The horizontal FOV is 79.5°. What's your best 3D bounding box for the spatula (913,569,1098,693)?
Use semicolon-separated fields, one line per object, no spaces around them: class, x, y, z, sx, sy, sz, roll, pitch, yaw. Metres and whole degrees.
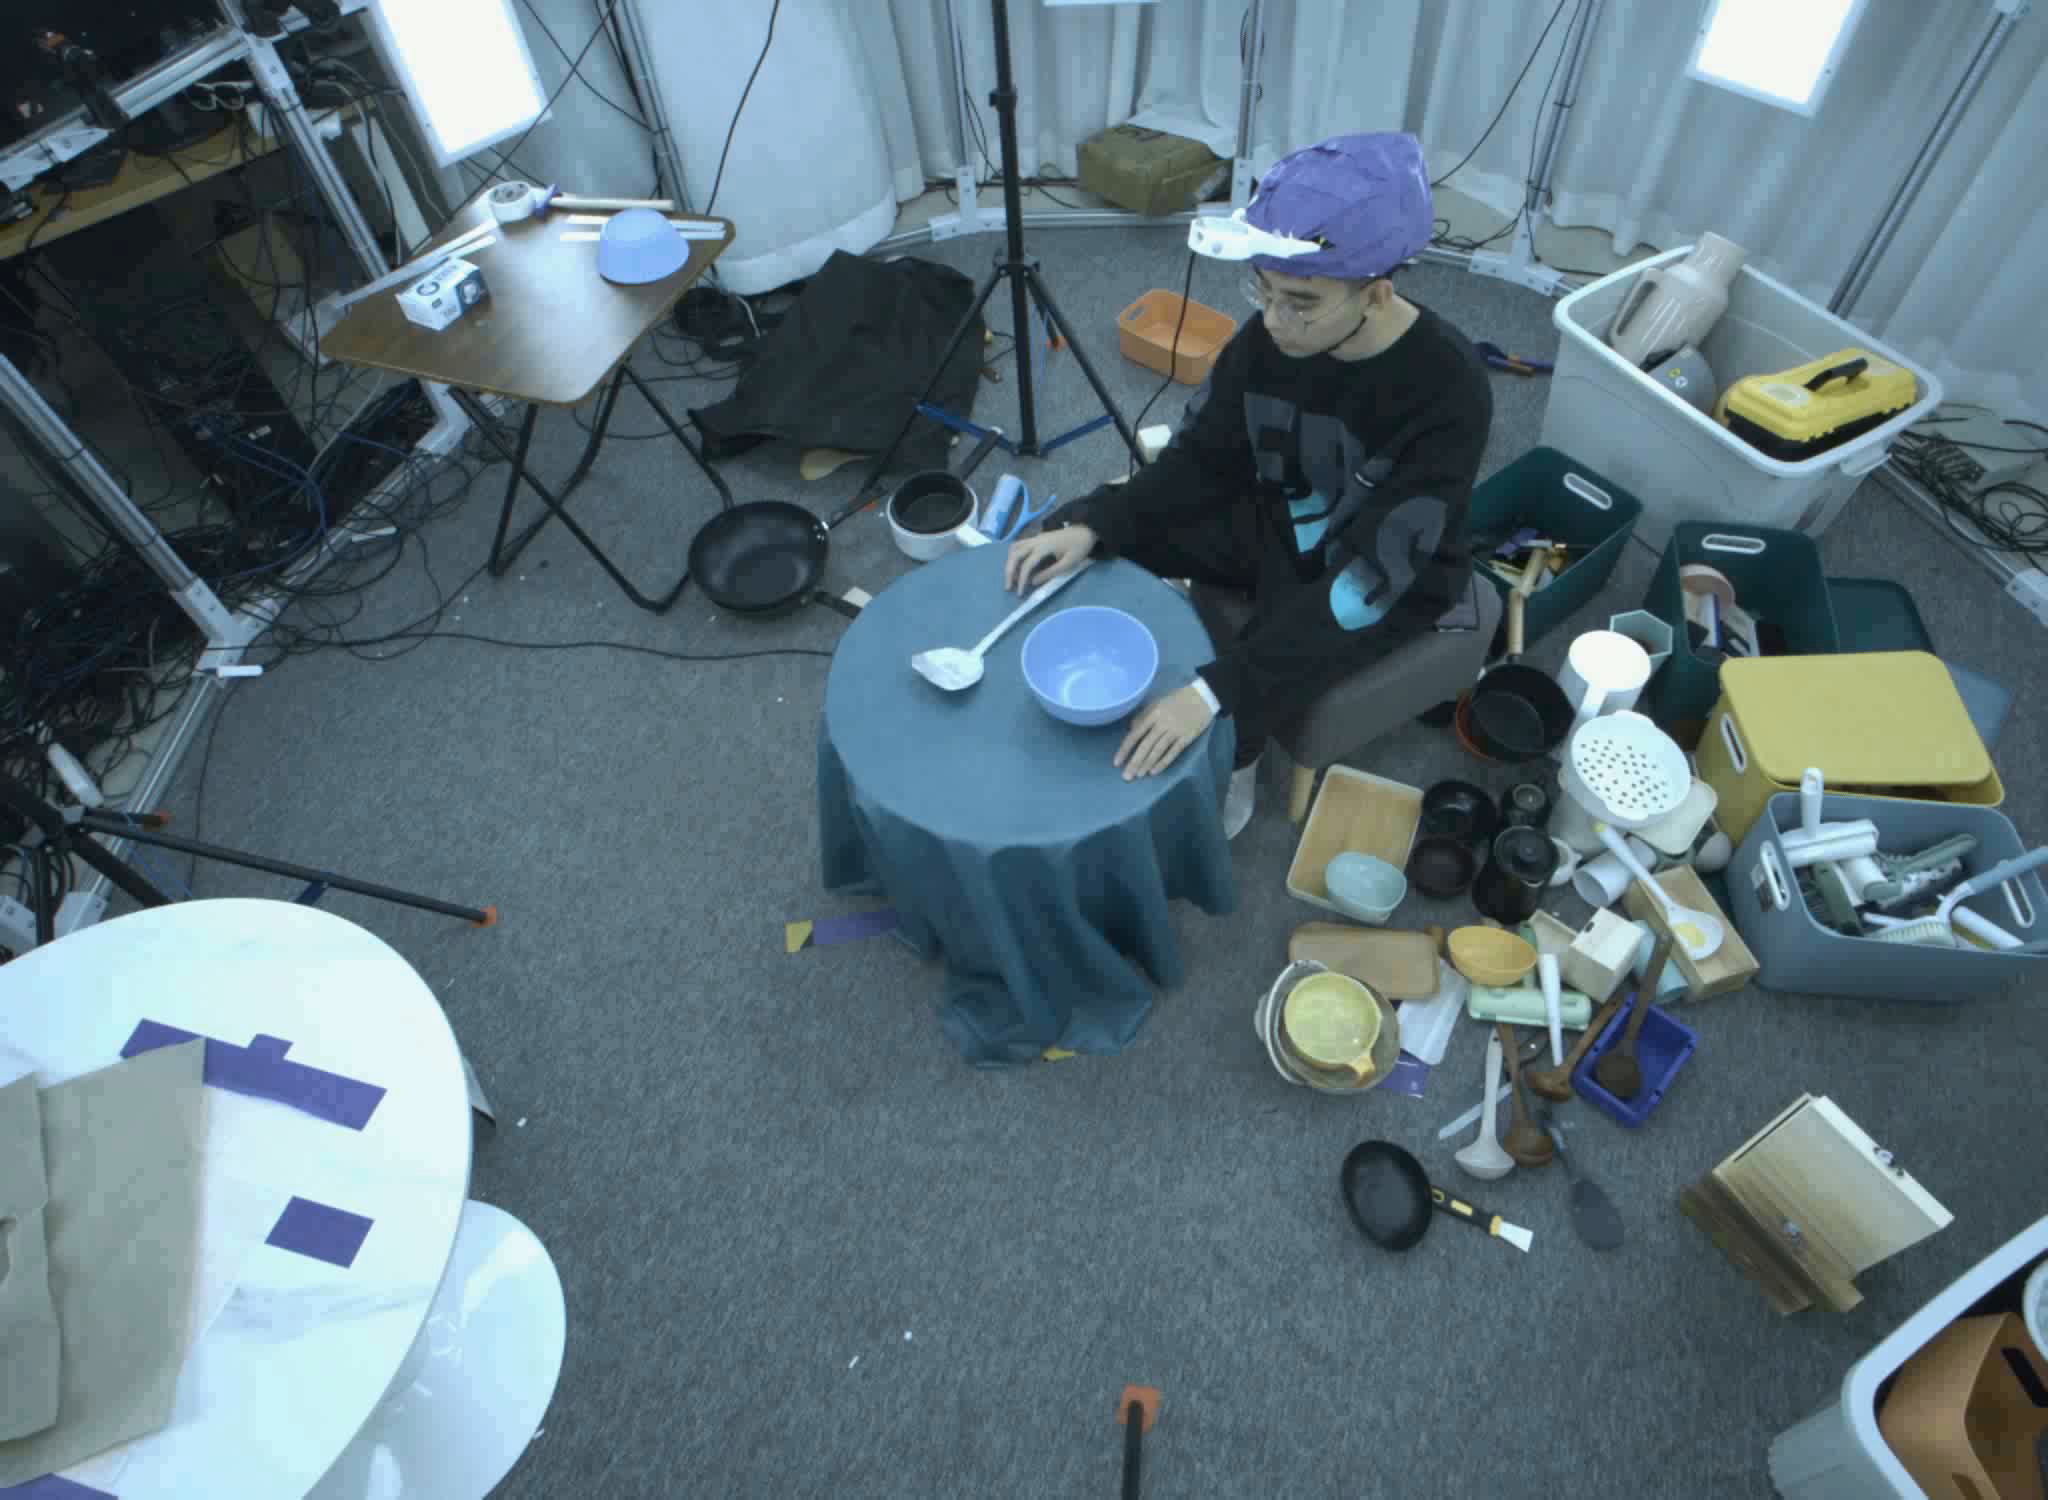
spatula;-0.016;-0.200;1.915;0.097;0.045;0.367;37;64;26

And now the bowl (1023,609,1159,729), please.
bowl;0.100;-0.104;1.809;0.196;0.096;0.194;-1;55;3
